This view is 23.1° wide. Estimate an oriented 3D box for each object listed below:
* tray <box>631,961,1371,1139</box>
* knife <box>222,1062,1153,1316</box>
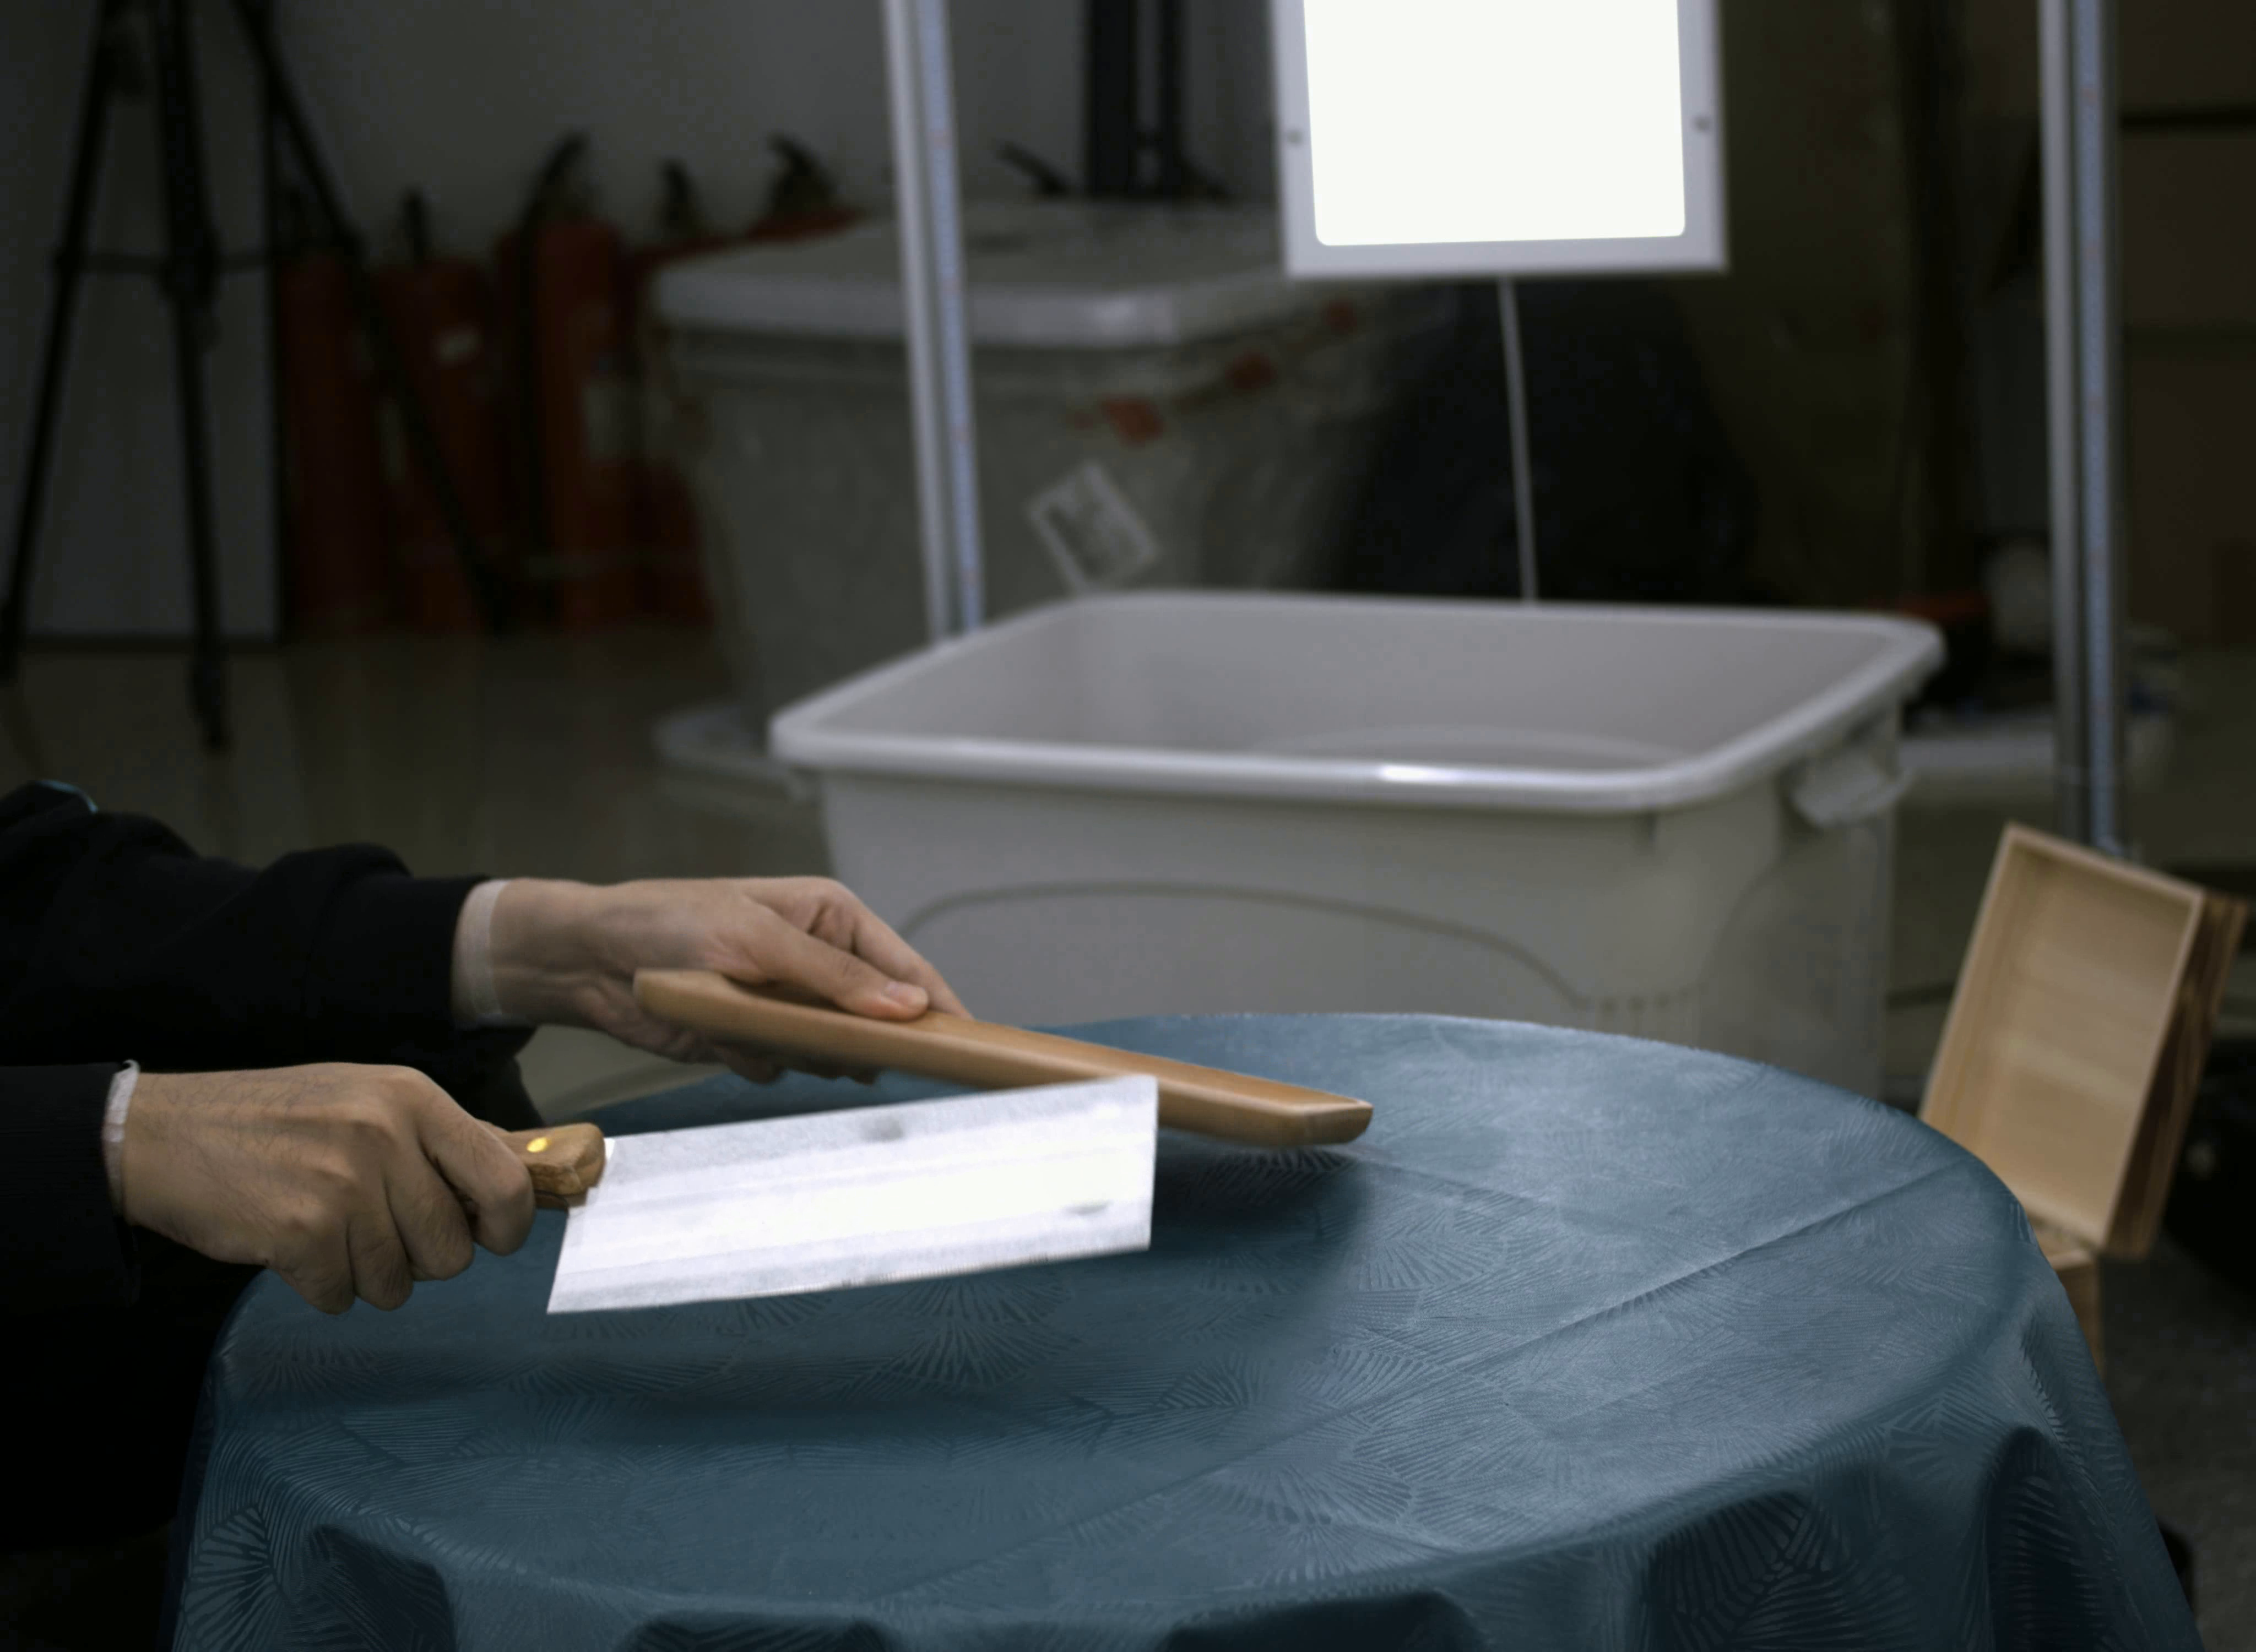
[{"bbox_3d":[-0.045,0.078,1.914,0.254,0.023,0.128,10,-3,23],"label":"tray"},{"bbox_3d":[-0.142,0.119,1.735,0.307,0.021,0.092,-8,33,9],"label":"knife"}]
